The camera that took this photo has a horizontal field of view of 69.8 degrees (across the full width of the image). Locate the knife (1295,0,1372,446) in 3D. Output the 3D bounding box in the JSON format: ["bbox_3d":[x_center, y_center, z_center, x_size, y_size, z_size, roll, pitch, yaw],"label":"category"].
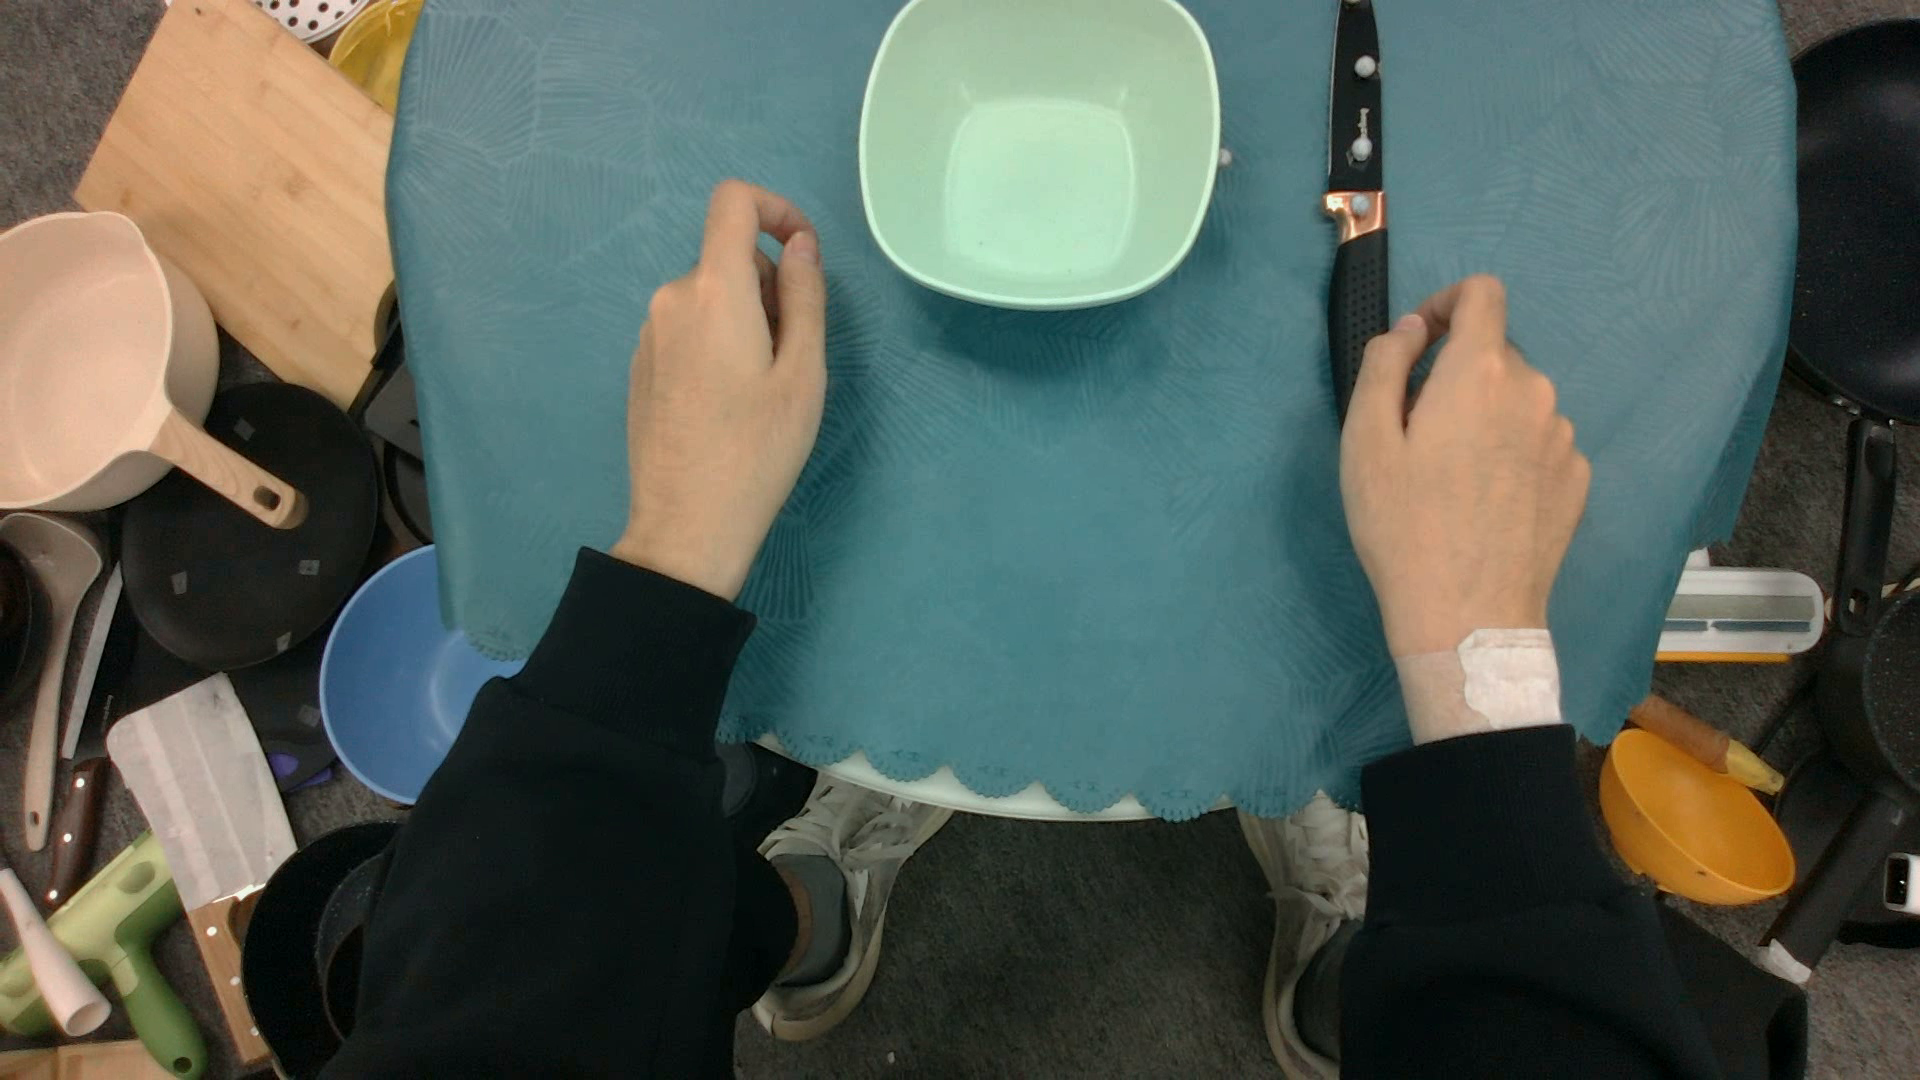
[{"bbox_3d":[0.156,-0.148,0.576,0.026,0.017,0.226,-2,78,10],"label":"knife"}]

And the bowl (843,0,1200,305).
[{"bbox_3d":[0.025,-0.154,0.562,0.151,0.058,0.151,0,79,2],"label":"bowl"}]
